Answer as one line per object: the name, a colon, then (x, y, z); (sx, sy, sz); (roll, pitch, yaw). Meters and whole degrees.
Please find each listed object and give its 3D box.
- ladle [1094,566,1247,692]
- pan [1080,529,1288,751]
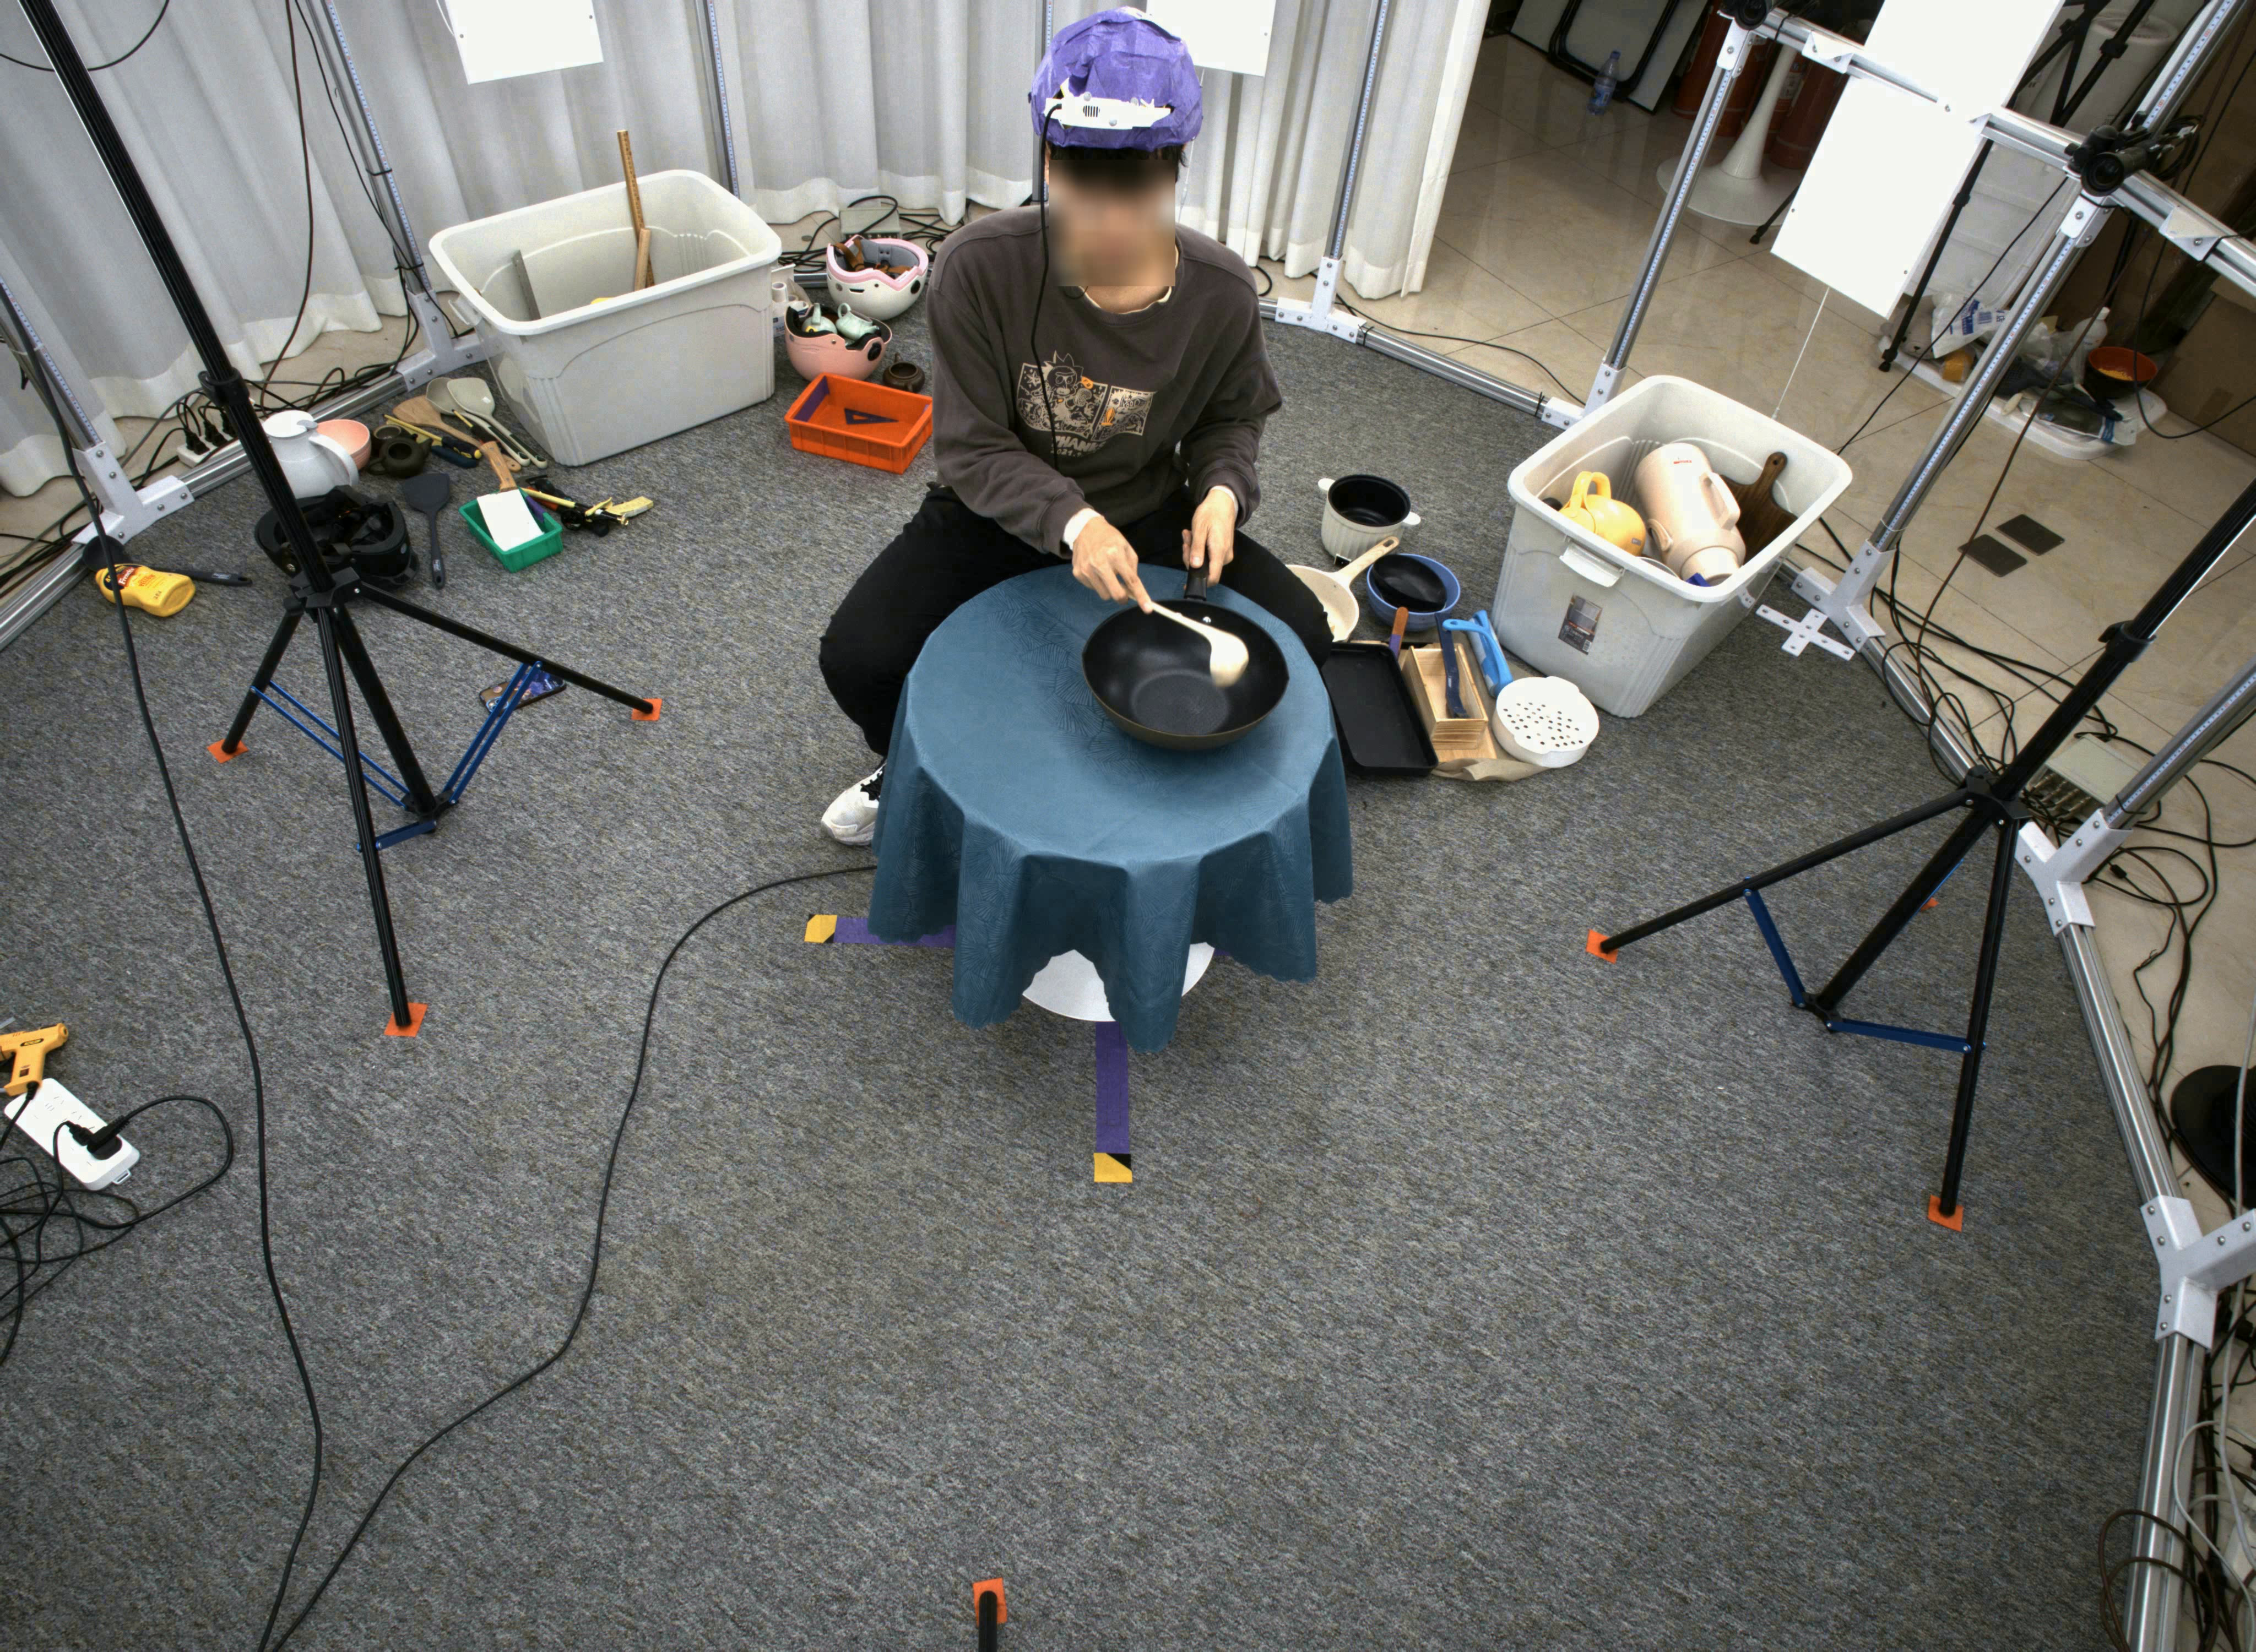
ladle: (0.050, -0.273, 1.788); (0.257, 0.071, 0.073); (33, 51, 17)
pan: (0.087, -0.264, 1.849); (0.288, 0.085, 0.474); (7, 47, 3)
